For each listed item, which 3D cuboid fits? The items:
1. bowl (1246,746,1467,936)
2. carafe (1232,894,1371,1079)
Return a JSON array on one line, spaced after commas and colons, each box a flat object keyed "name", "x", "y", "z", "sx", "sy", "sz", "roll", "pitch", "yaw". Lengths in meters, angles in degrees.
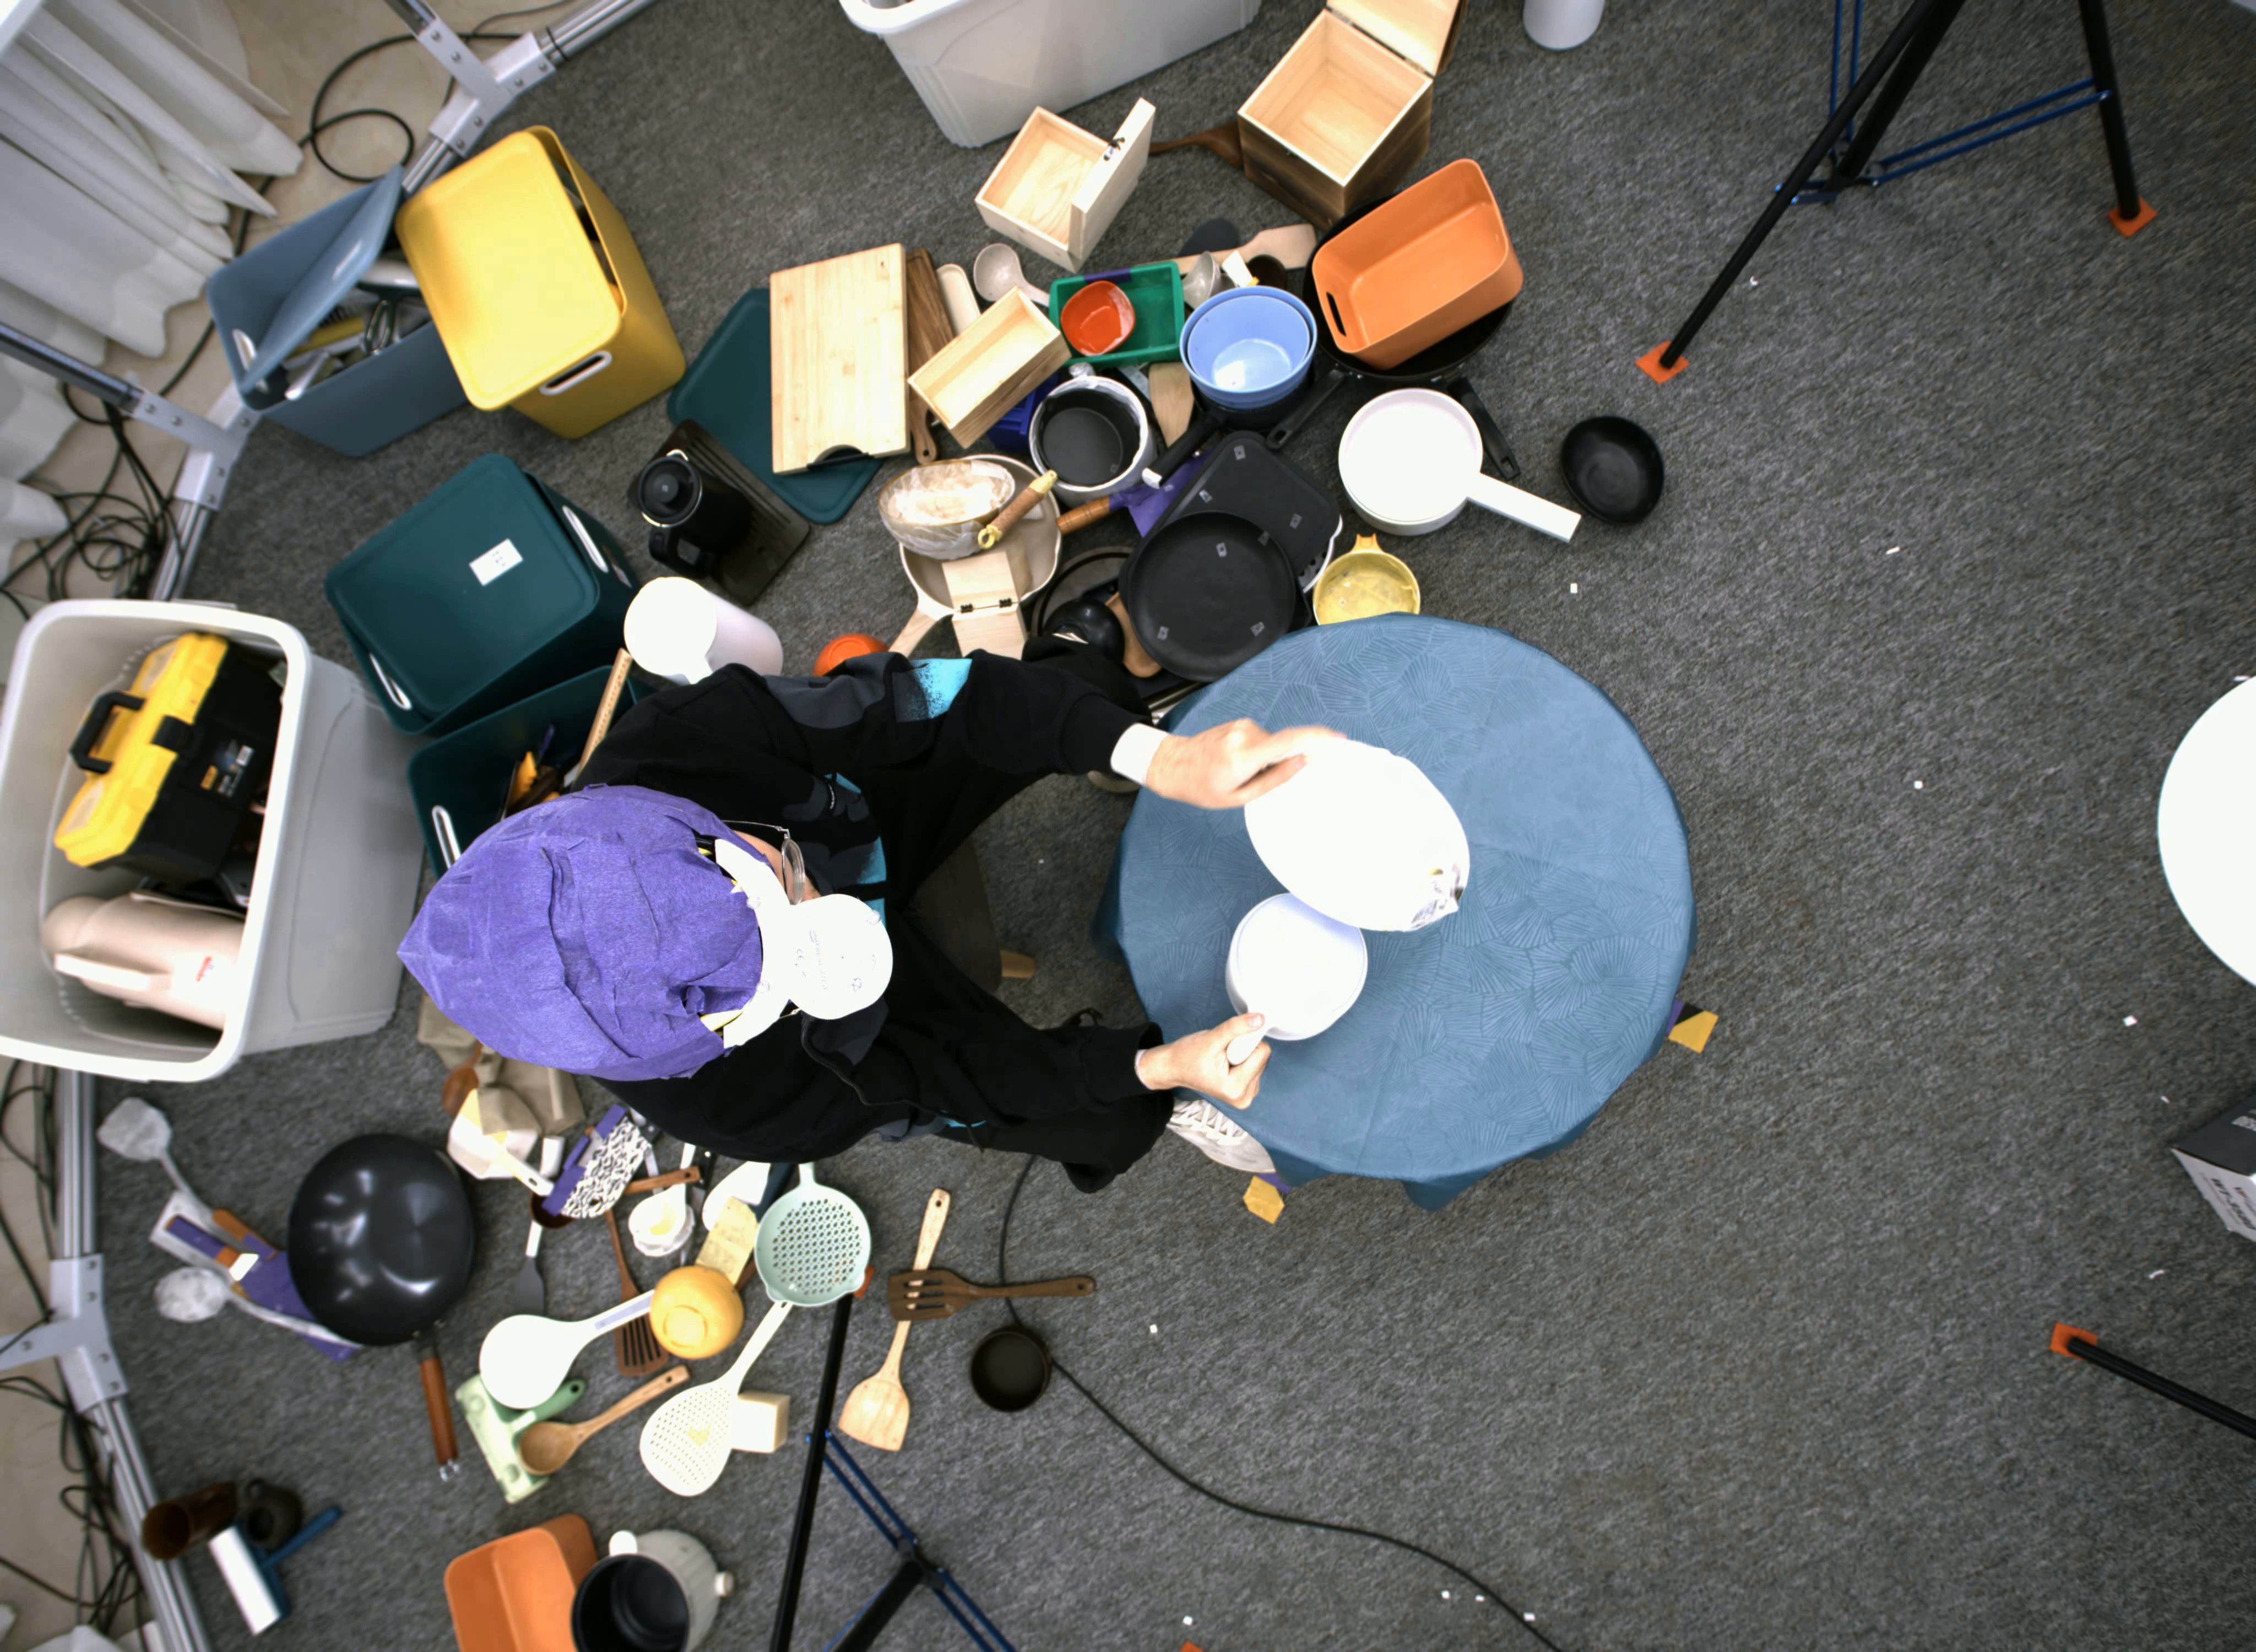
[{"name": "bowl", "x": 0.208, "y": -0.007, "z": 1.180, "sx": 0.203, "sy": 0.209, "sz": 0.076, "roll": 33, "pitch": 56, "yaw": 11}, {"name": "carafe", "x": 0.155, "y": 0.159, "z": 1.353, "sx": 0.132, "sy": 0.183, "sz": 0.190, "roll": 29, "pitch": 85, "yaw": 10}]
